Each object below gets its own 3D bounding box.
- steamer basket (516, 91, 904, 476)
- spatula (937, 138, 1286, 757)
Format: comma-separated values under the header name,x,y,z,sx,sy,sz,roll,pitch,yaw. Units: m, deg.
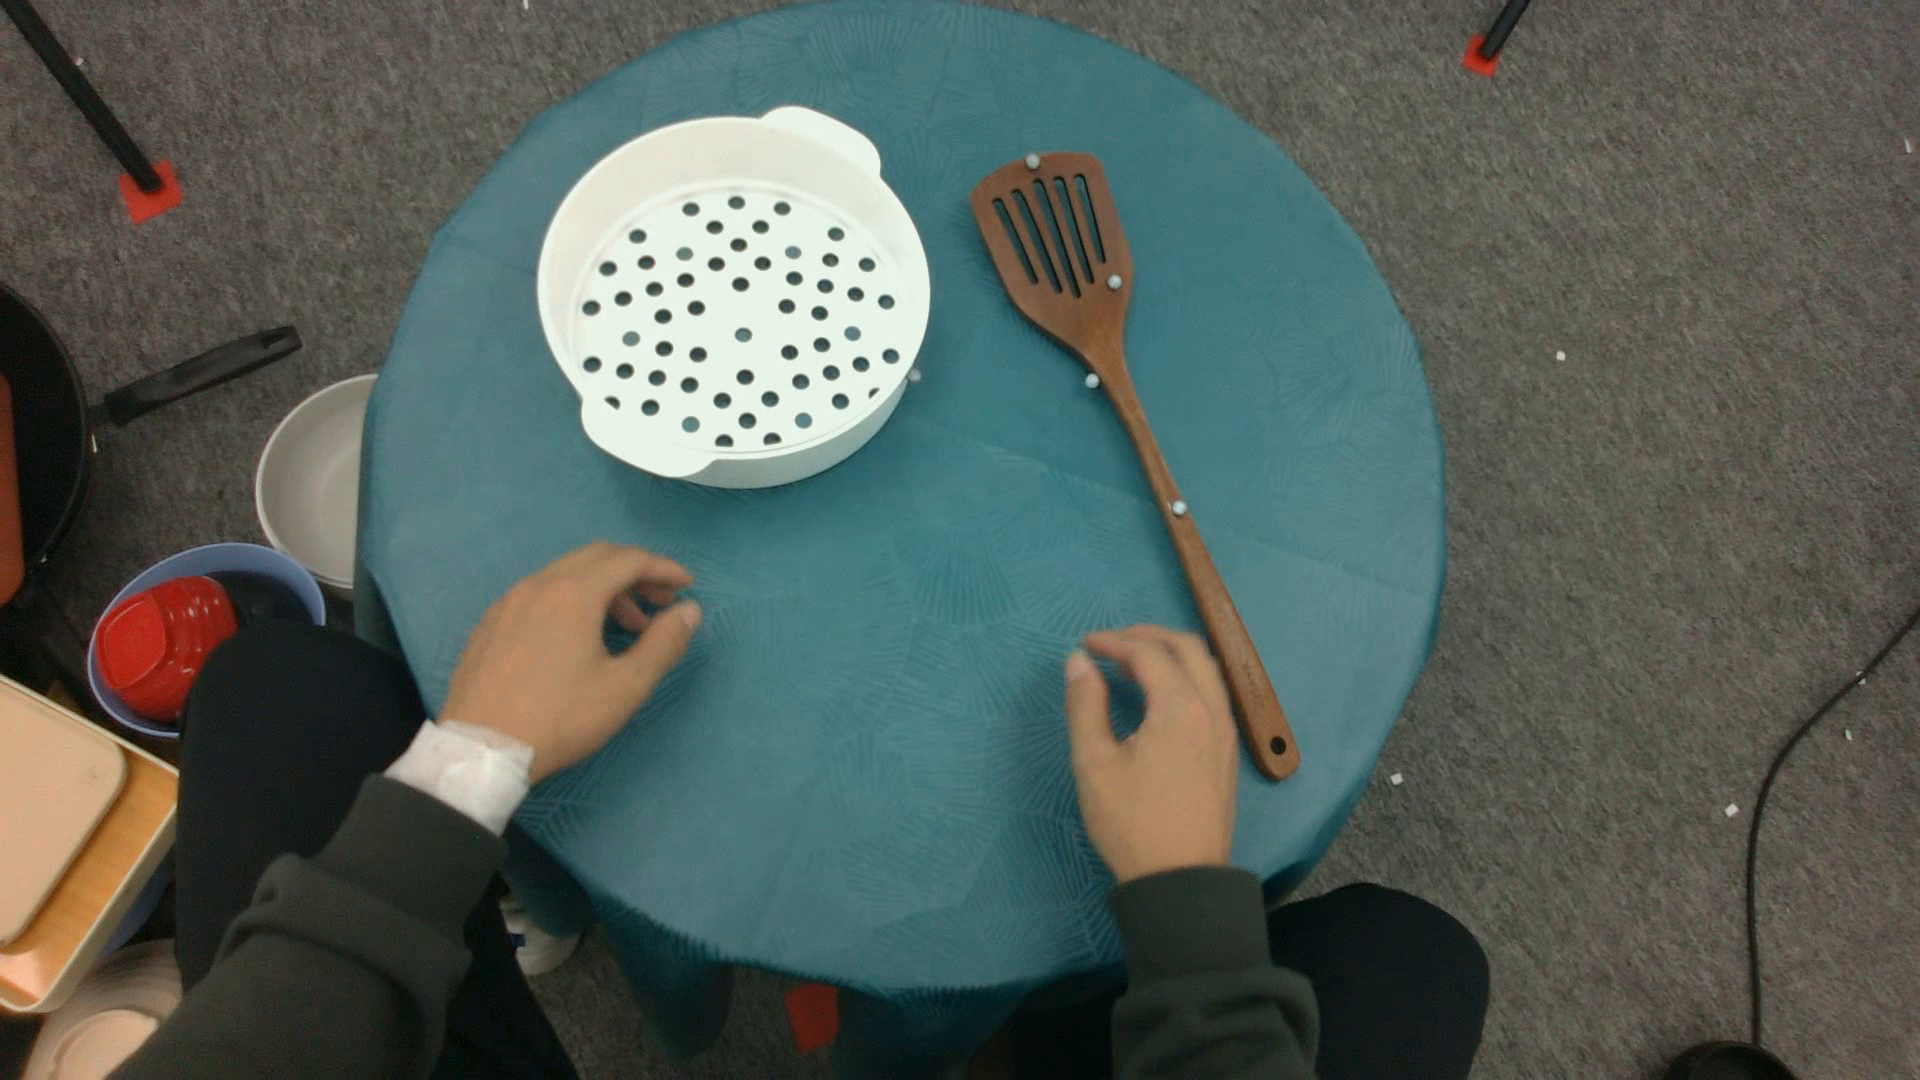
name,x,y,z,sx,sy,sz,roll,pitch,yaw
steamer basket,-0.132,-0.133,0.750,0.202,0.069,0.231,23,72,3
spatula,0.093,-0.059,0.775,0.086,0.023,0.386,-20,75,-12
